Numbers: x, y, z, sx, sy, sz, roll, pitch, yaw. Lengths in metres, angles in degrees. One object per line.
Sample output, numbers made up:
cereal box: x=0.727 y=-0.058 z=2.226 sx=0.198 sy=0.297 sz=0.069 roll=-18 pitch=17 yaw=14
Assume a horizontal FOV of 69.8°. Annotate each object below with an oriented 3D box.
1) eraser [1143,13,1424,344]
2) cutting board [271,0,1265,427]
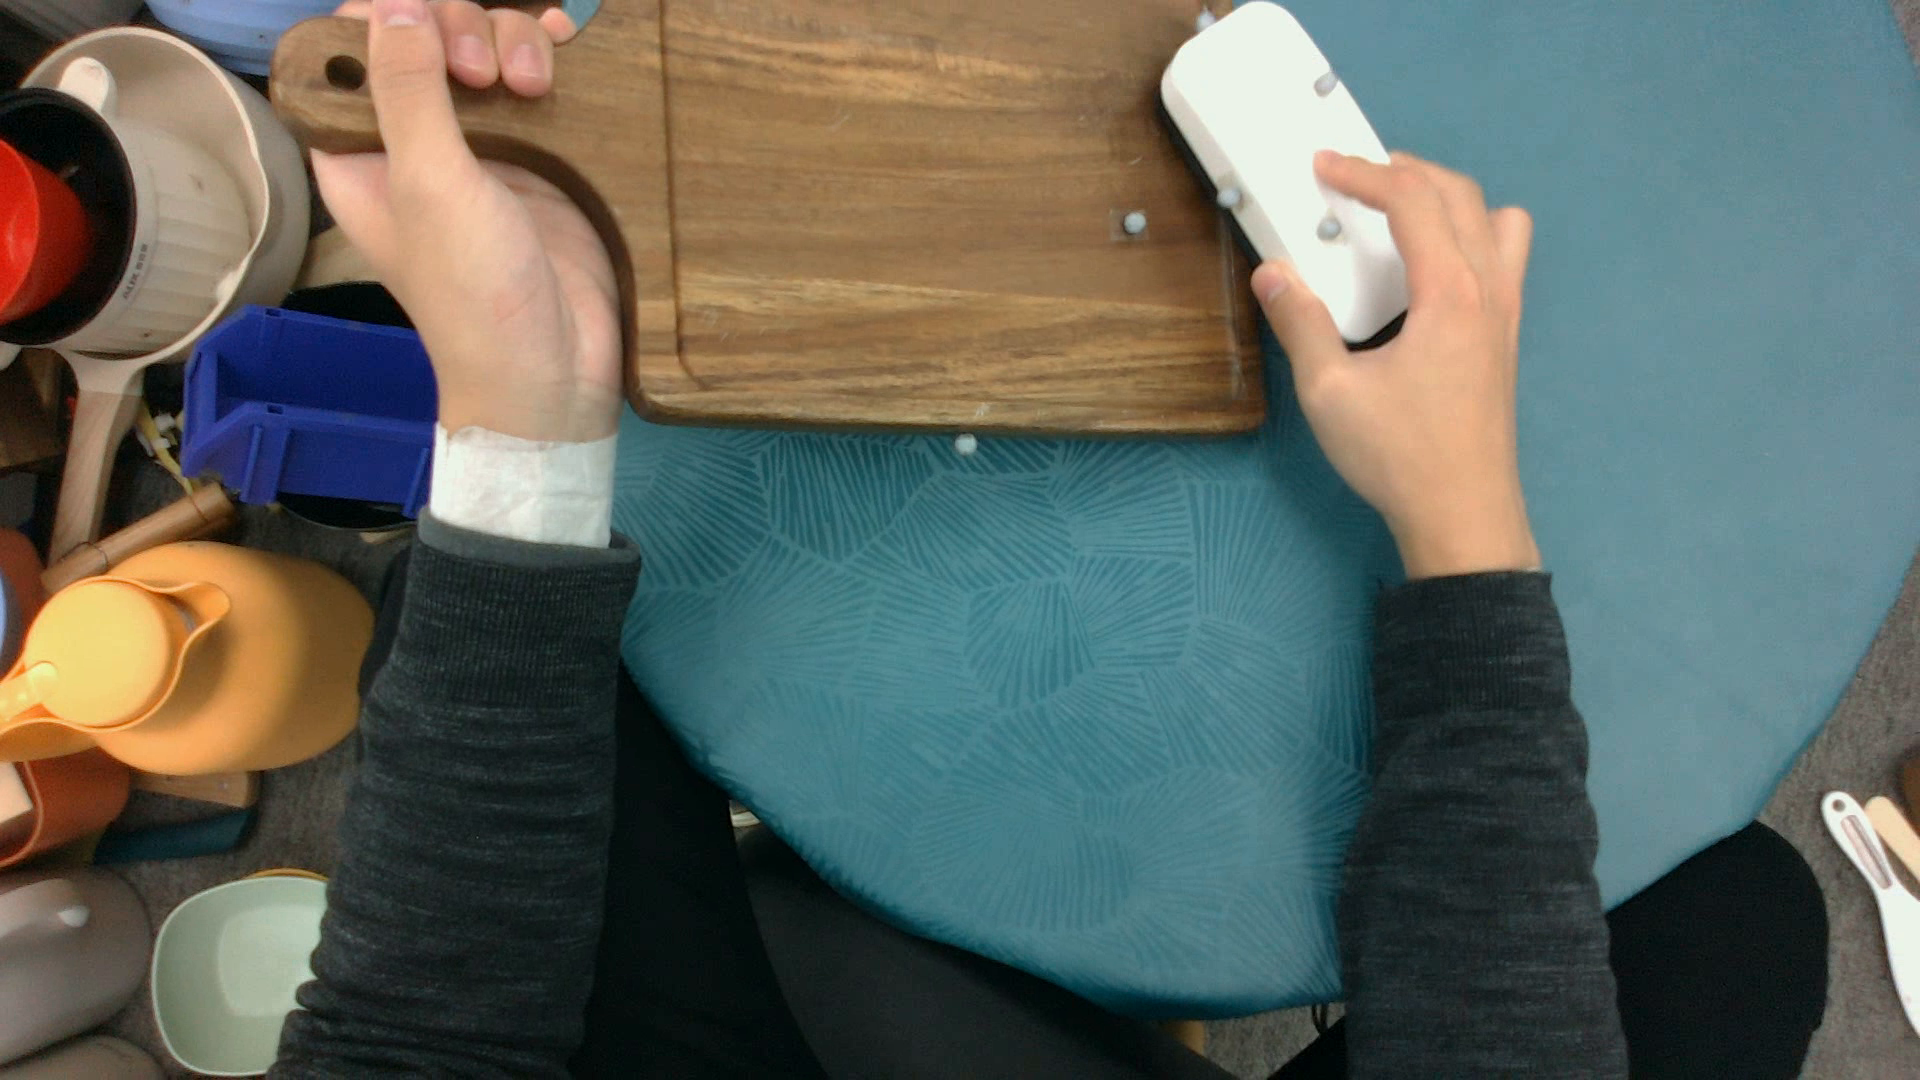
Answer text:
eraser: x=0.127 y=-0.141 z=0.543 sx=0.063 sy=0.034 sz=0.131 roll=-36 pitch=94 yaw=-21
cutting board: x=-0.044 y=-0.139 z=0.482 sx=0.353 sy=0.023 sz=0.201 roll=-1 pitch=83 yaw=-28
